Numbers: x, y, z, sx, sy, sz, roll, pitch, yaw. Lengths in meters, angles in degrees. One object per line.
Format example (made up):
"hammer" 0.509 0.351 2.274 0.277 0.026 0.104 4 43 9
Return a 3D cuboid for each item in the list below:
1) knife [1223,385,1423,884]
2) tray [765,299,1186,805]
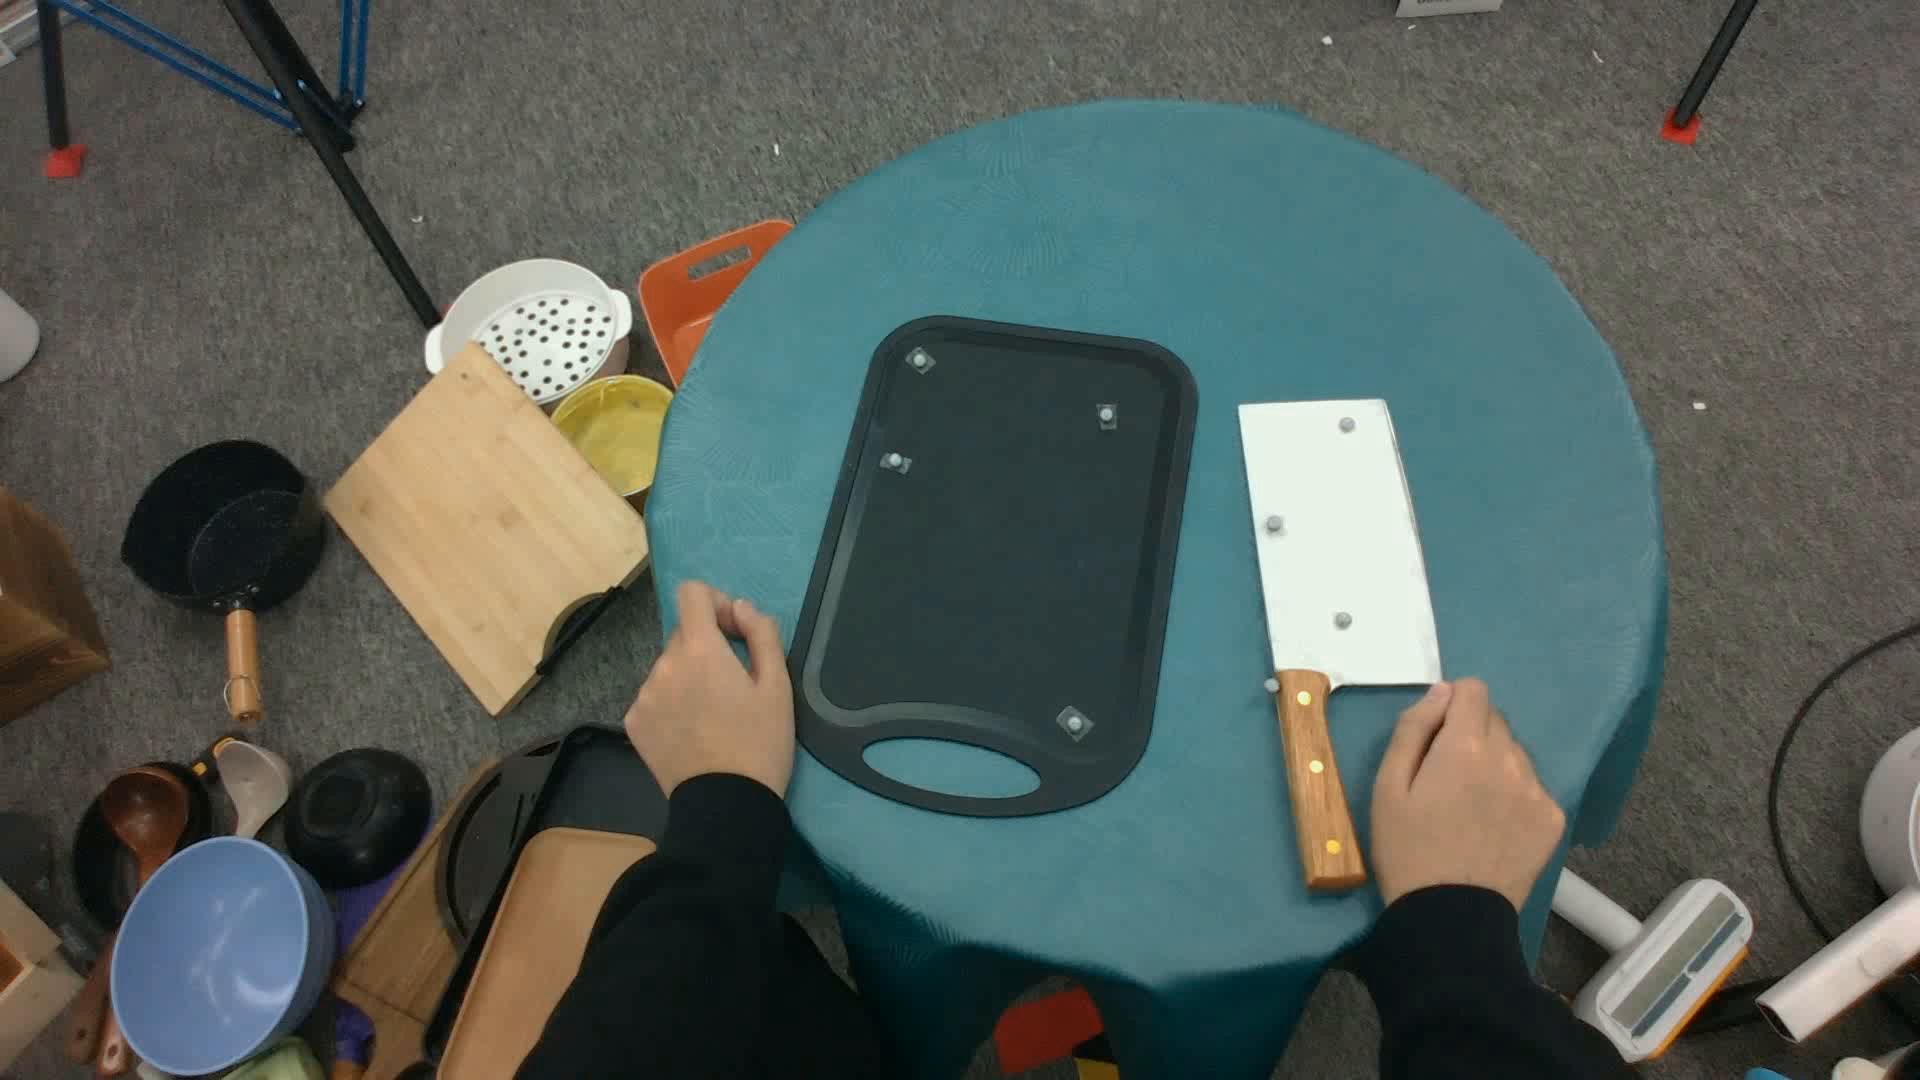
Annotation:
"knife" 0.207 0.038 0.769 0.093 0.021 0.307 -2 60 1
"tray" 0.013 -0.004 0.807 0.211 0.010 0.327 9 63 8
